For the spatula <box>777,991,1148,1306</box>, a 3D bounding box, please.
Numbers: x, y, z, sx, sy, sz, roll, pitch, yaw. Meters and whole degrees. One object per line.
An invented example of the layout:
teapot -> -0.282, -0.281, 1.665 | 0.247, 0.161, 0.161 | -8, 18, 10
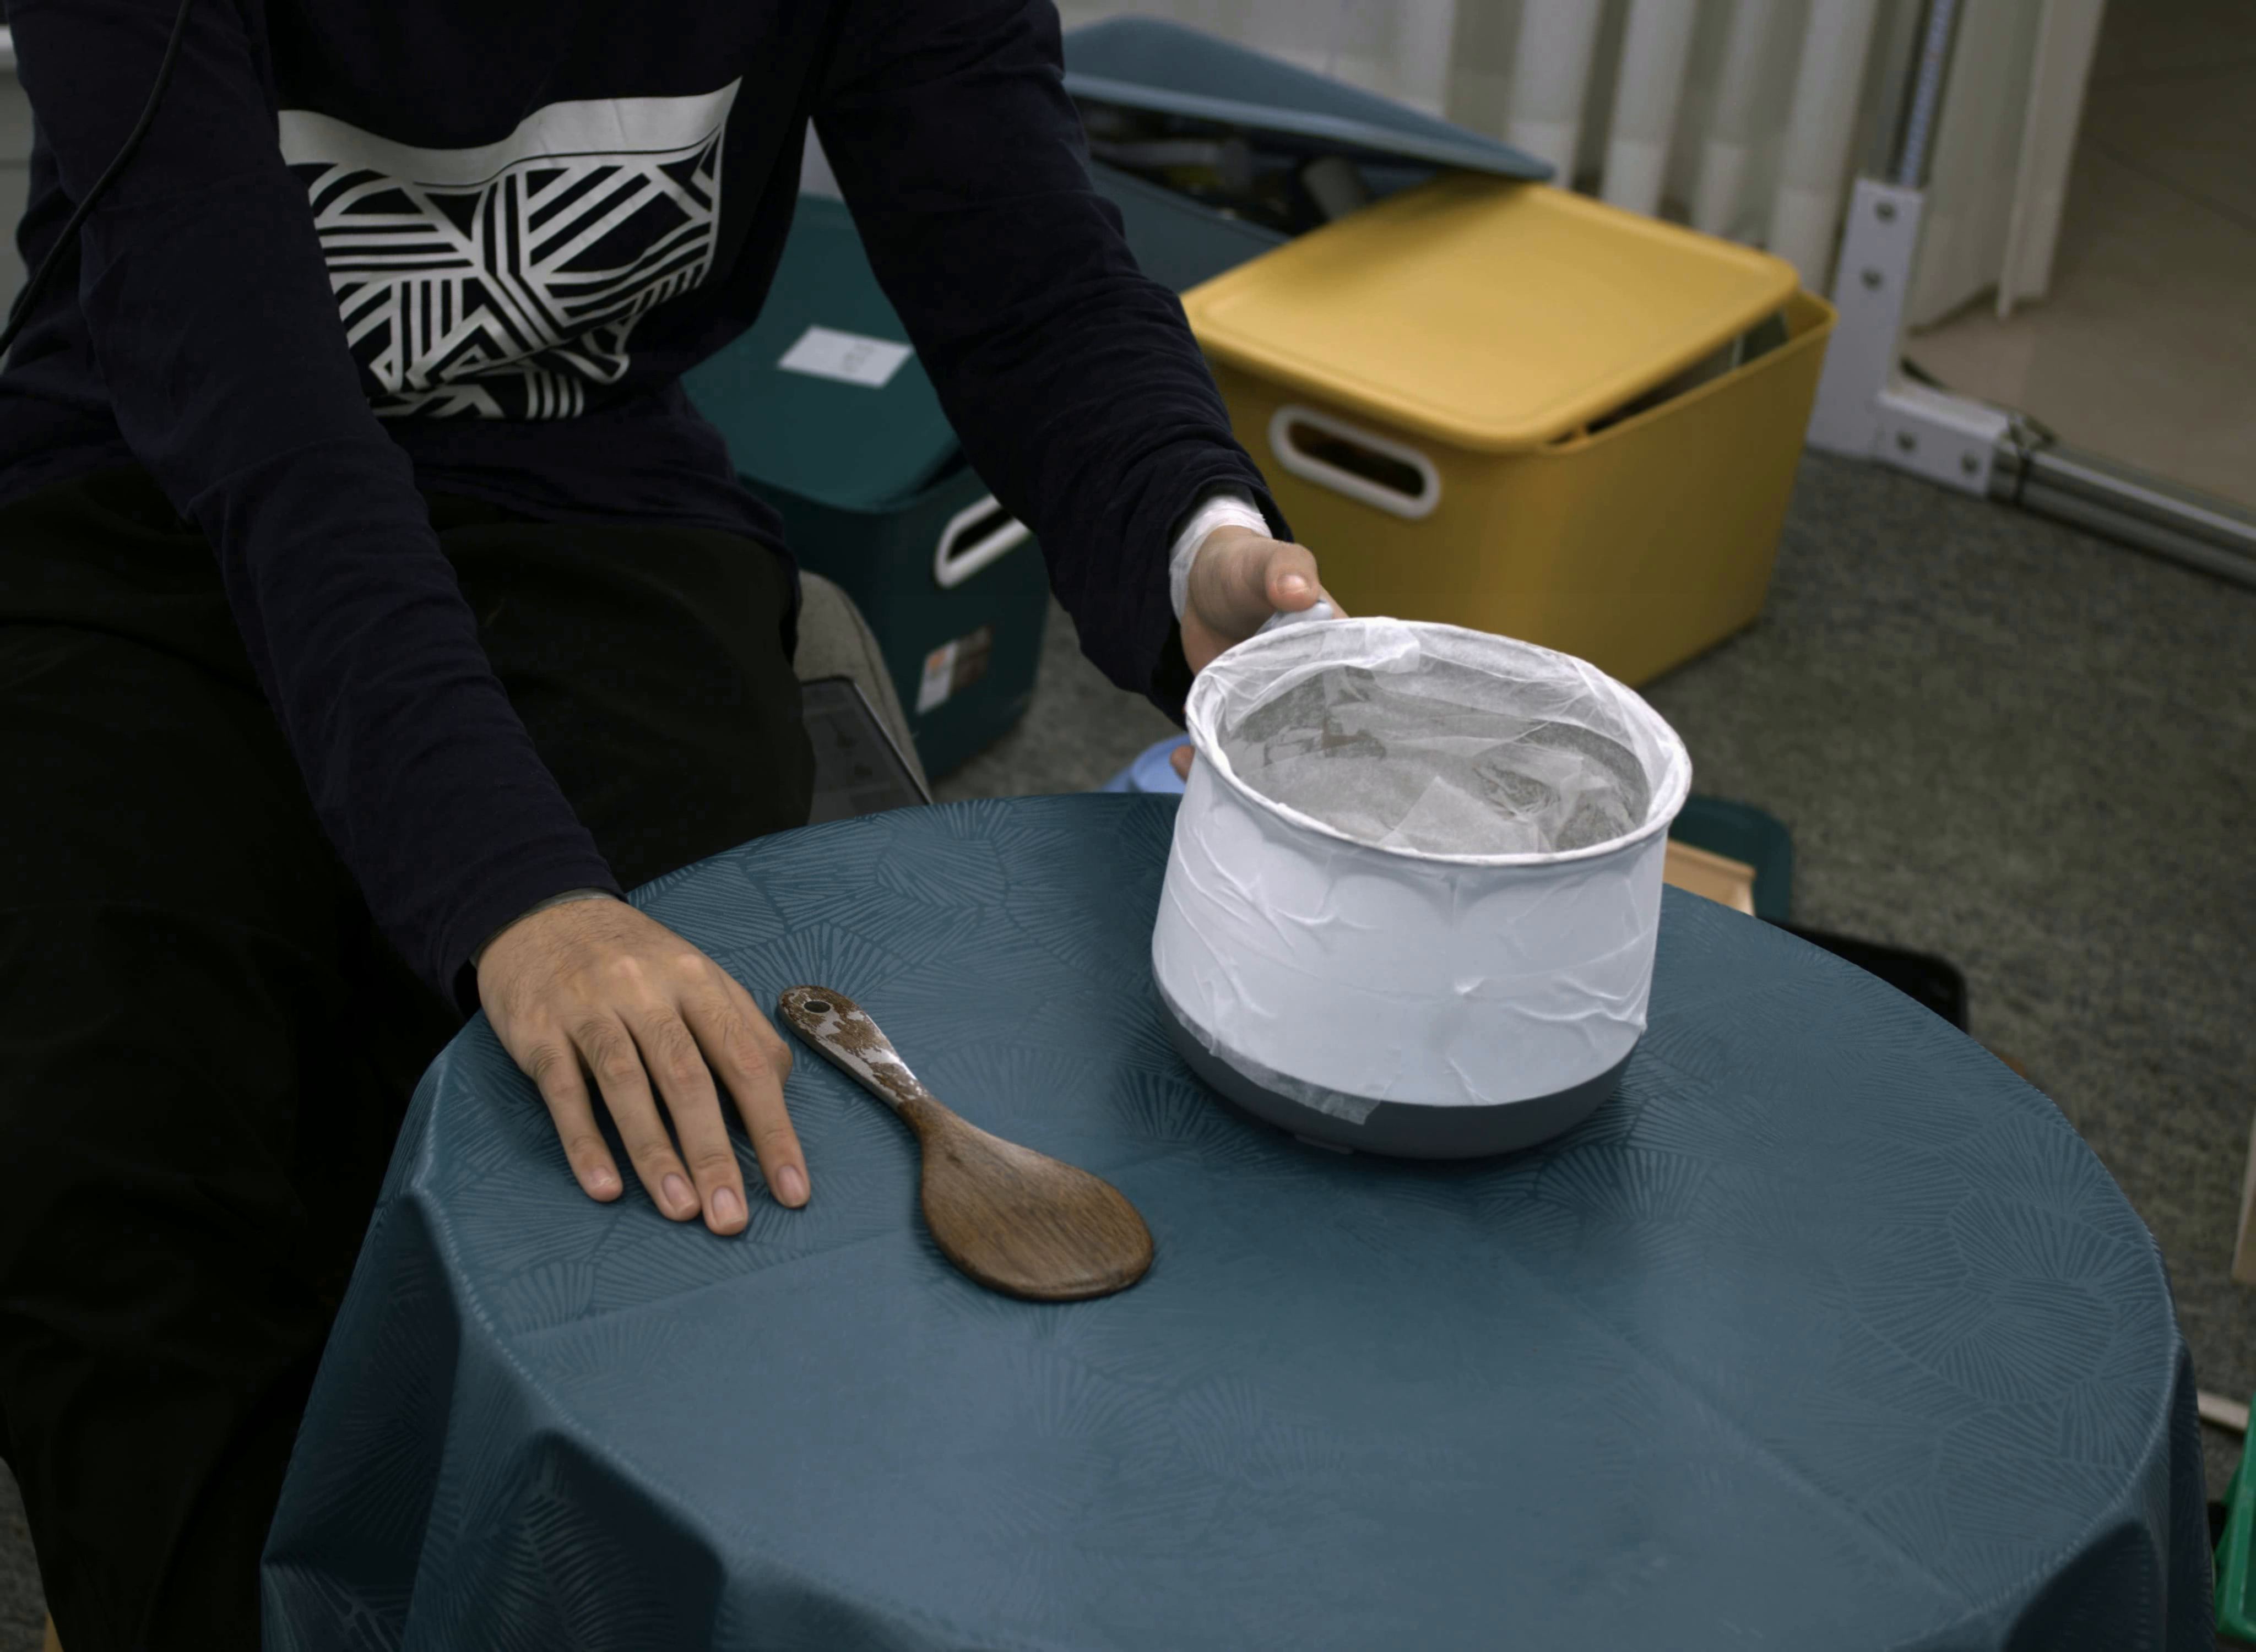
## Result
spatula -> -0.064, 0.106, 1.821 | 0.071, 0.009, 0.218 | -8, 29, -29

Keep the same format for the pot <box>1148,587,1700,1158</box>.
pot -> 0.088, 0.009, 1.891 | 0.177, 0.136, 0.236 | -5, 31, -28
